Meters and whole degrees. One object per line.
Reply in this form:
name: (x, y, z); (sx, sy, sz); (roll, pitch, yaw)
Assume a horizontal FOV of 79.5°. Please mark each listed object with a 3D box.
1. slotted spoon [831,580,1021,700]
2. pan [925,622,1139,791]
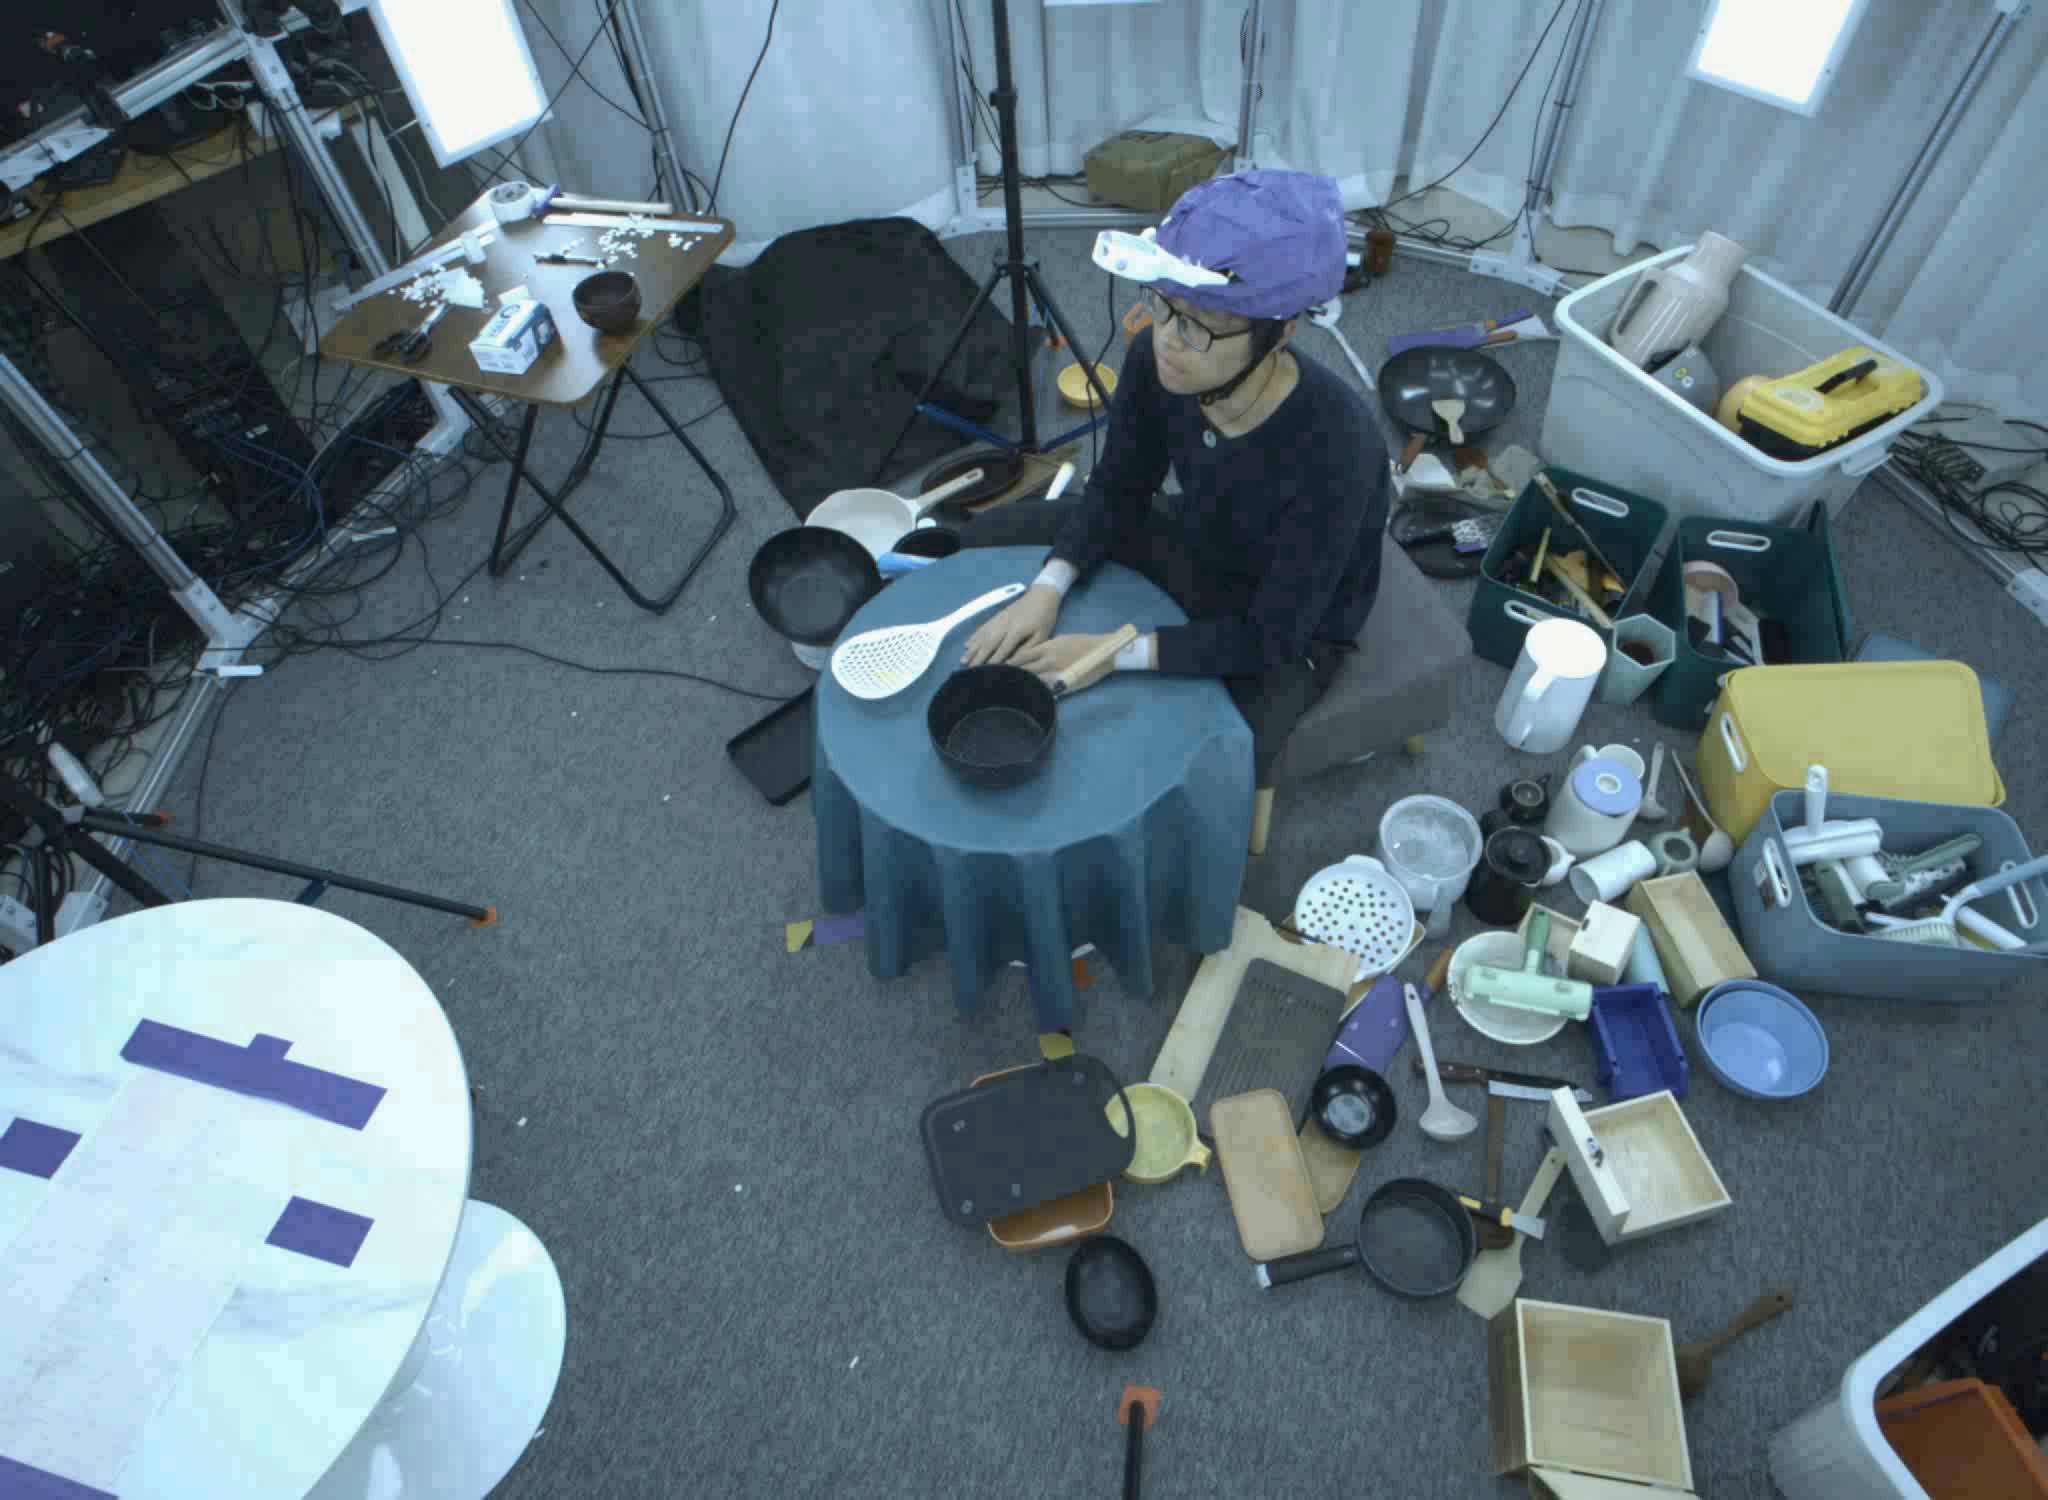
slotted spoon: (-0.137, -0.181, 1.894); (0.350, 0.051, 0.134); (-37, 60, -20)
pan: (0.021, -0.072, 1.771); (0.345, 0.109, 0.203); (-31, 58, -17)
